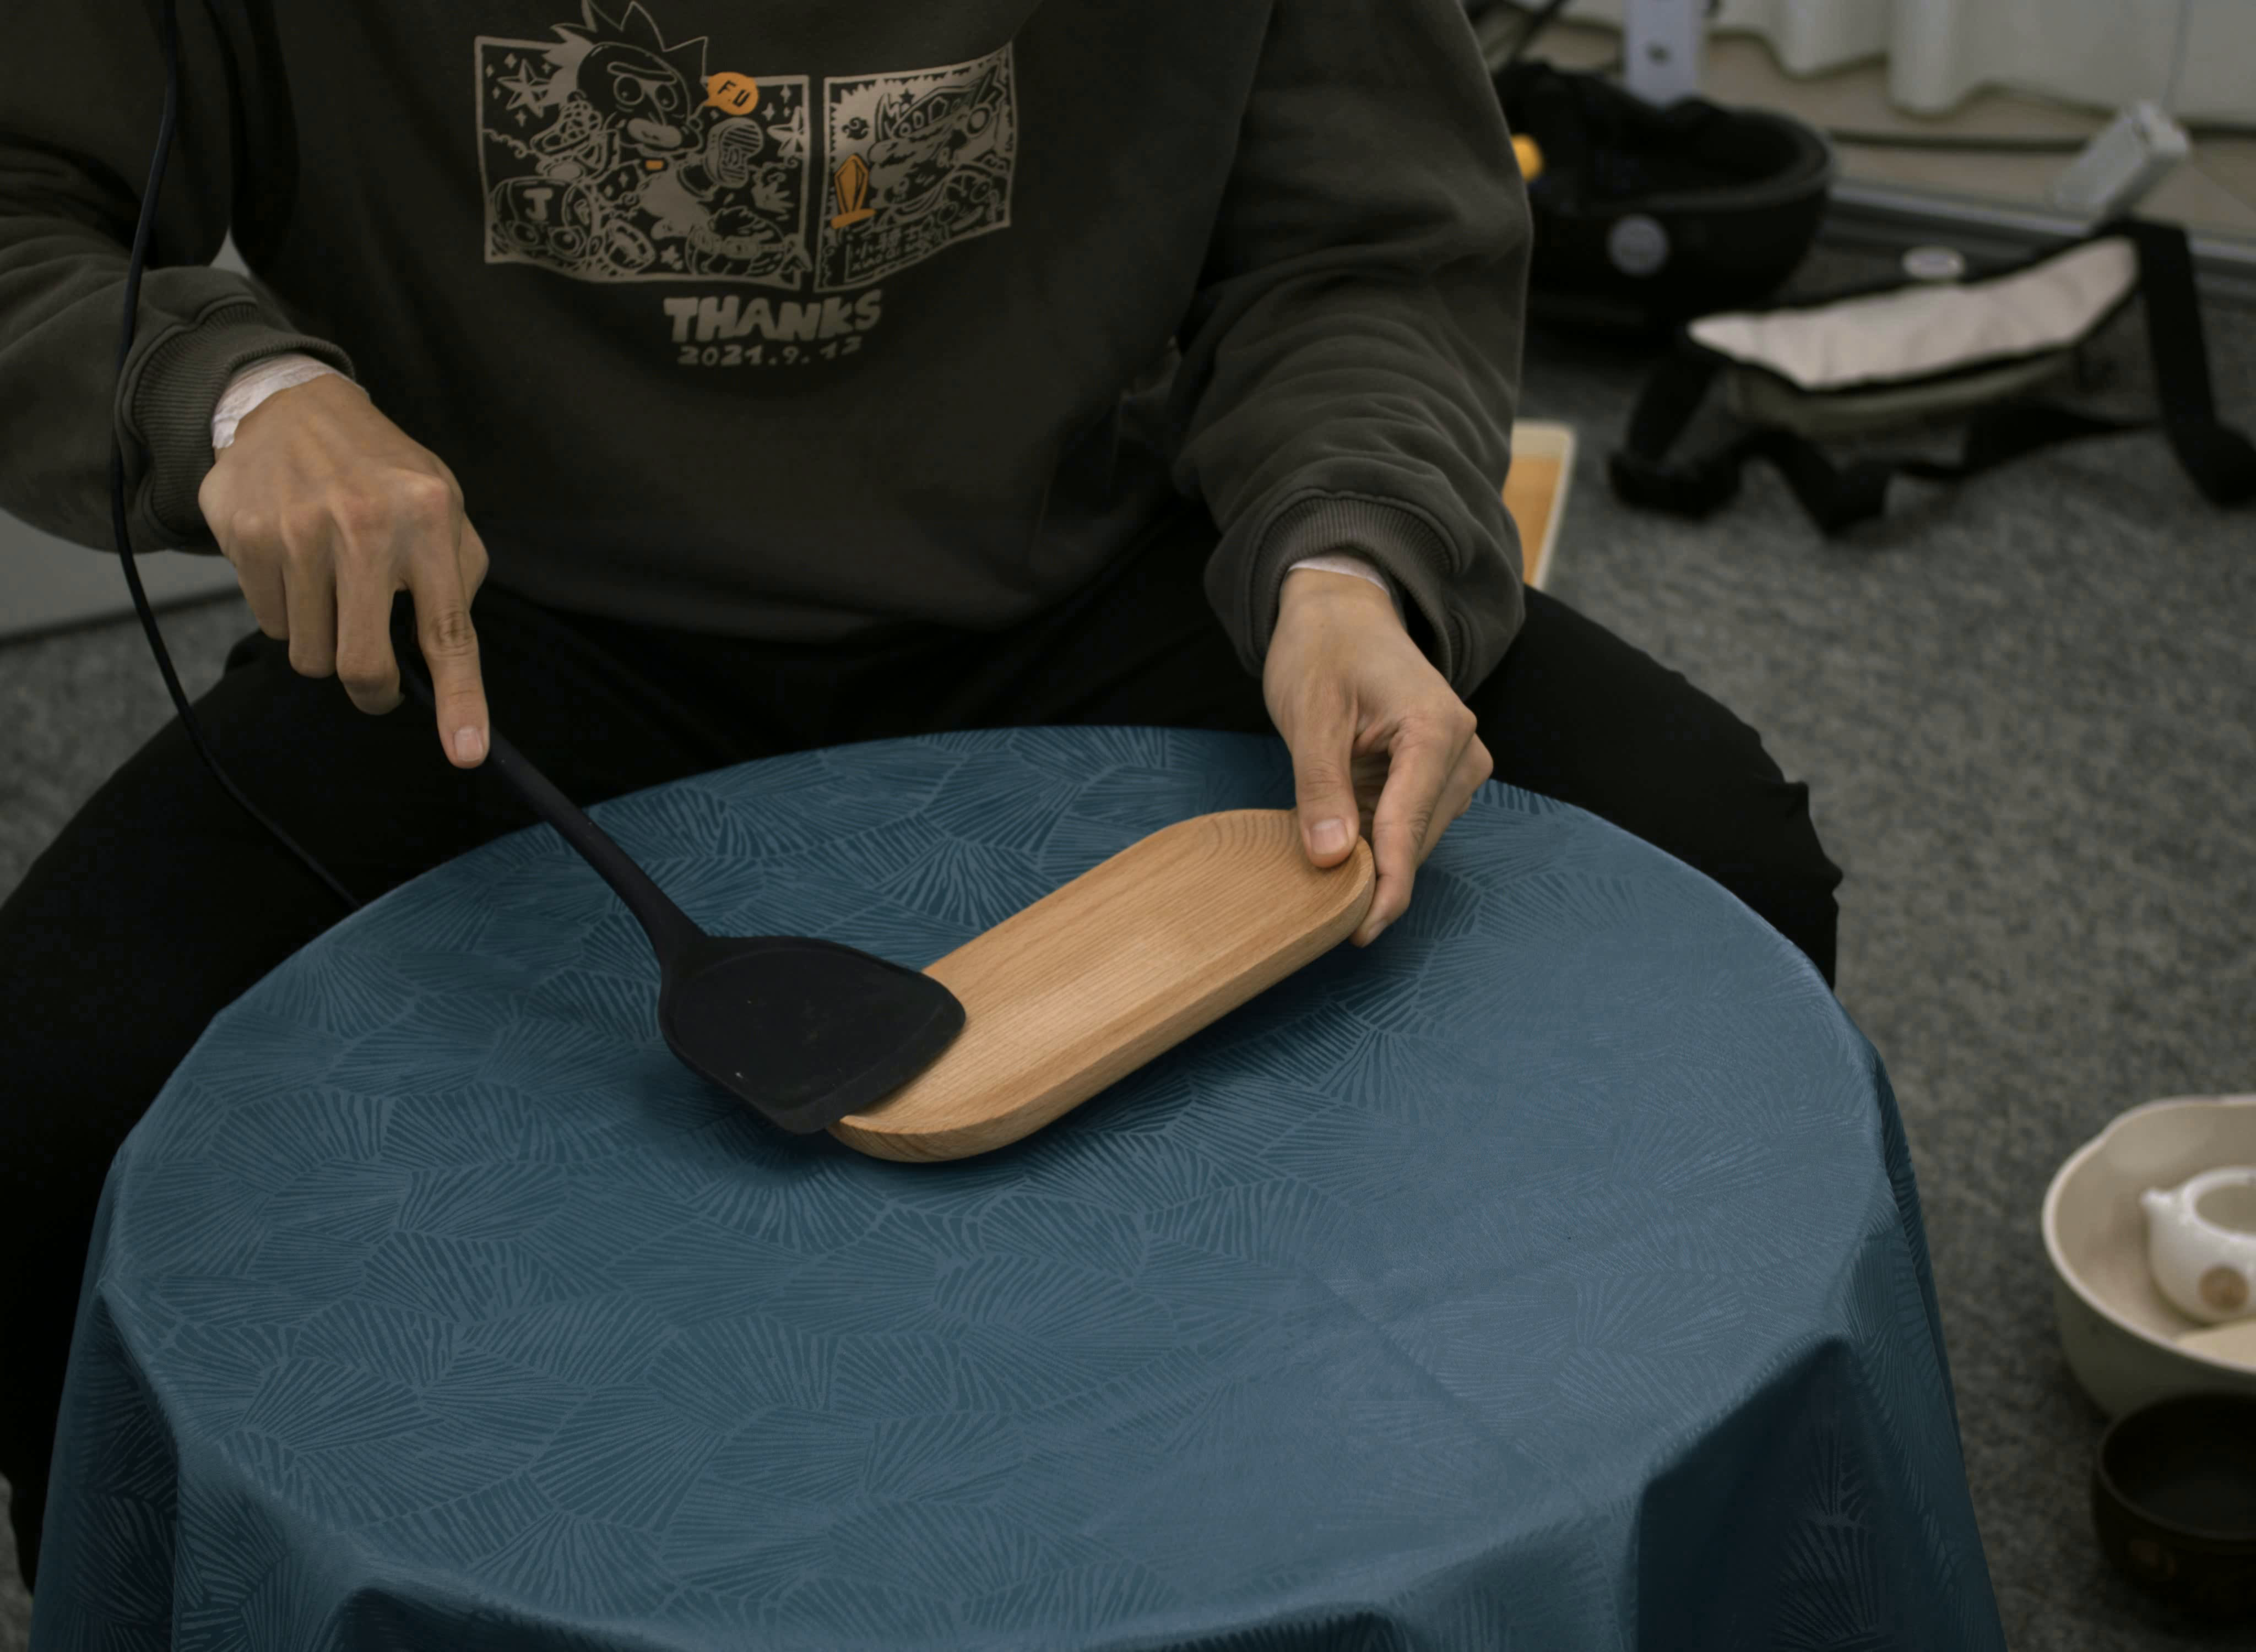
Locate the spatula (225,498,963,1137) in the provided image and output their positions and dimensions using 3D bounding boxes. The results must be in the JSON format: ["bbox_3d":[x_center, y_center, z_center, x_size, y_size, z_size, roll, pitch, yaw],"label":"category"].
[{"bbox_3d":[-0.199,-0.012,1.951,0.327,0.039,0.101,44,44,13],"label":"spatula"}]

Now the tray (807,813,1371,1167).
[{"bbox_3d":[-0.013,0.056,1.945,0.234,0.020,0.101,-31,34,-31],"label":"tray"}]
